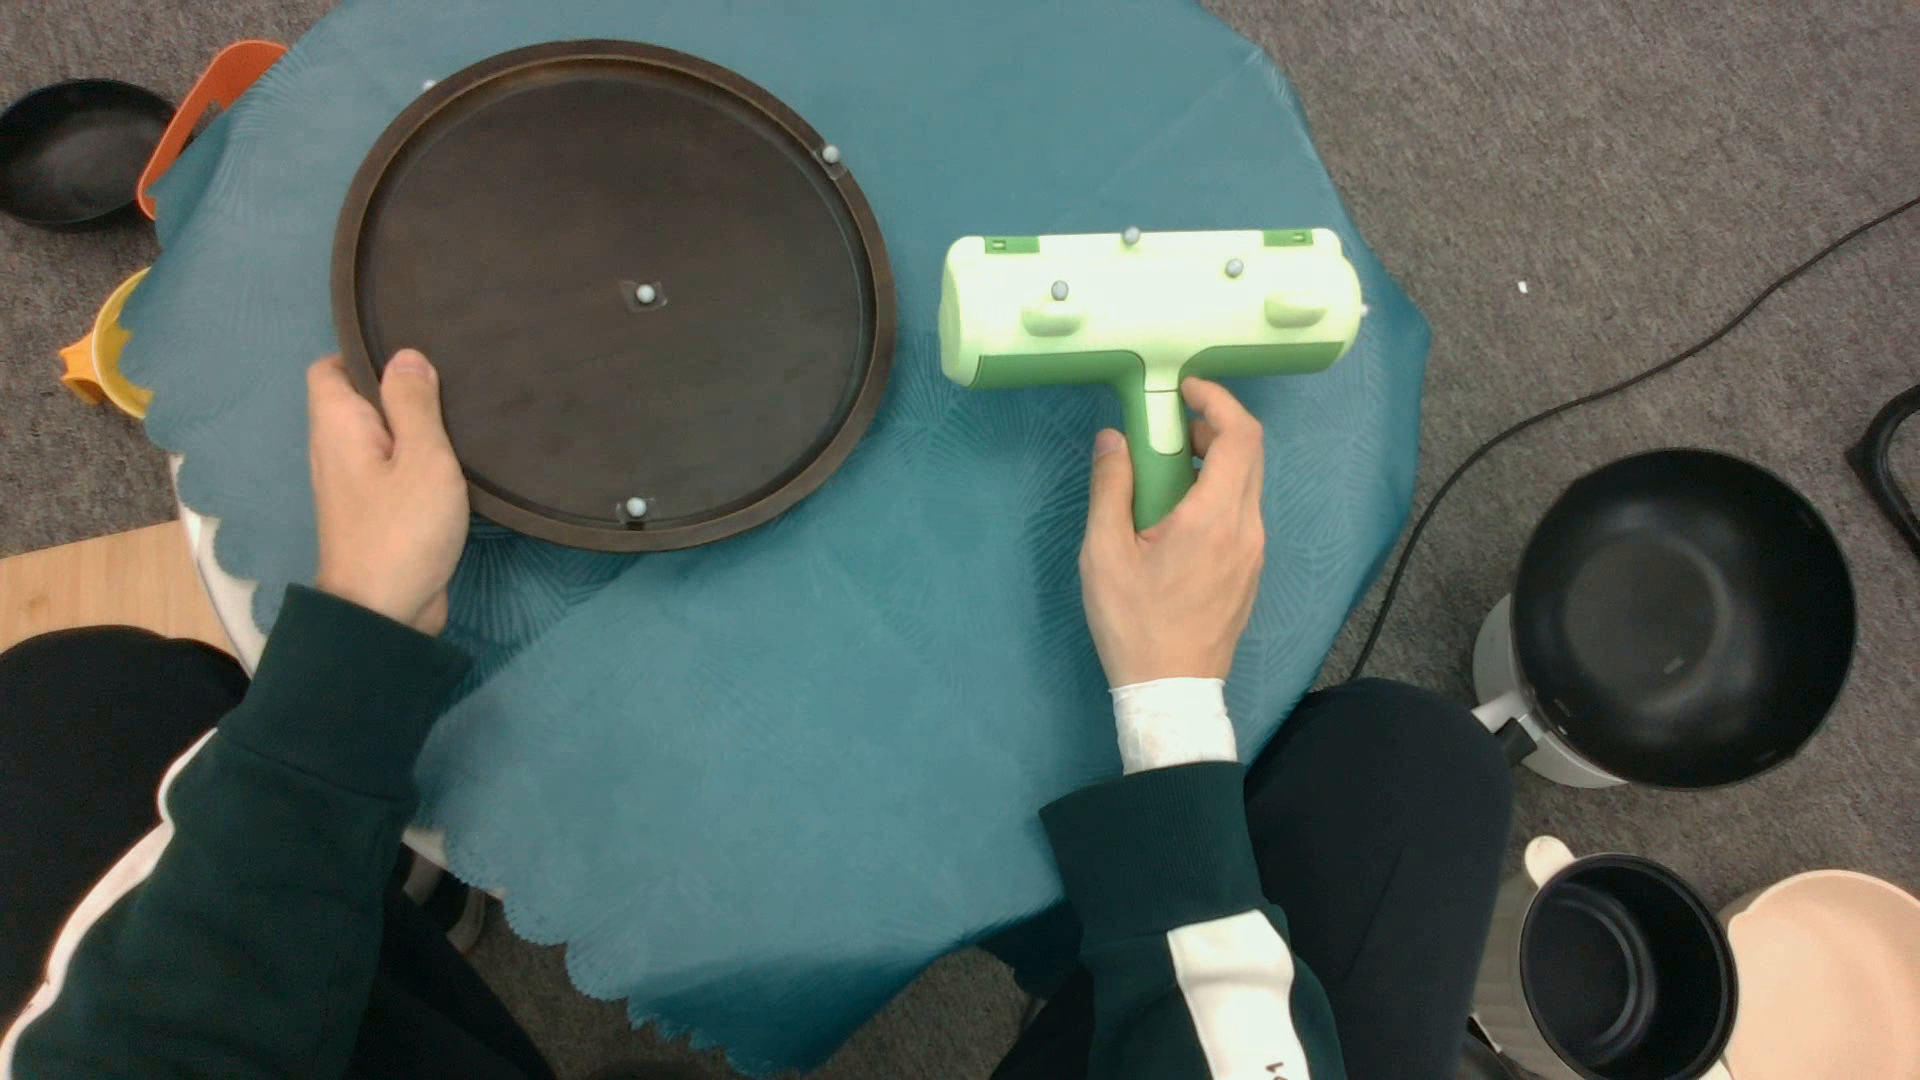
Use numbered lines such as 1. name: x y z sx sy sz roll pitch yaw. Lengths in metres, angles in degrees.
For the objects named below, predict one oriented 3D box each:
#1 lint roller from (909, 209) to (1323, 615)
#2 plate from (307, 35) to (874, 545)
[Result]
1. lint roller: 0.085 -0.060 0.627 0.199 0.082 0.183 -7 82 -19
2. plate: -0.165 -0.119 0.642 0.255 0.029 0.255 5 73 -16
